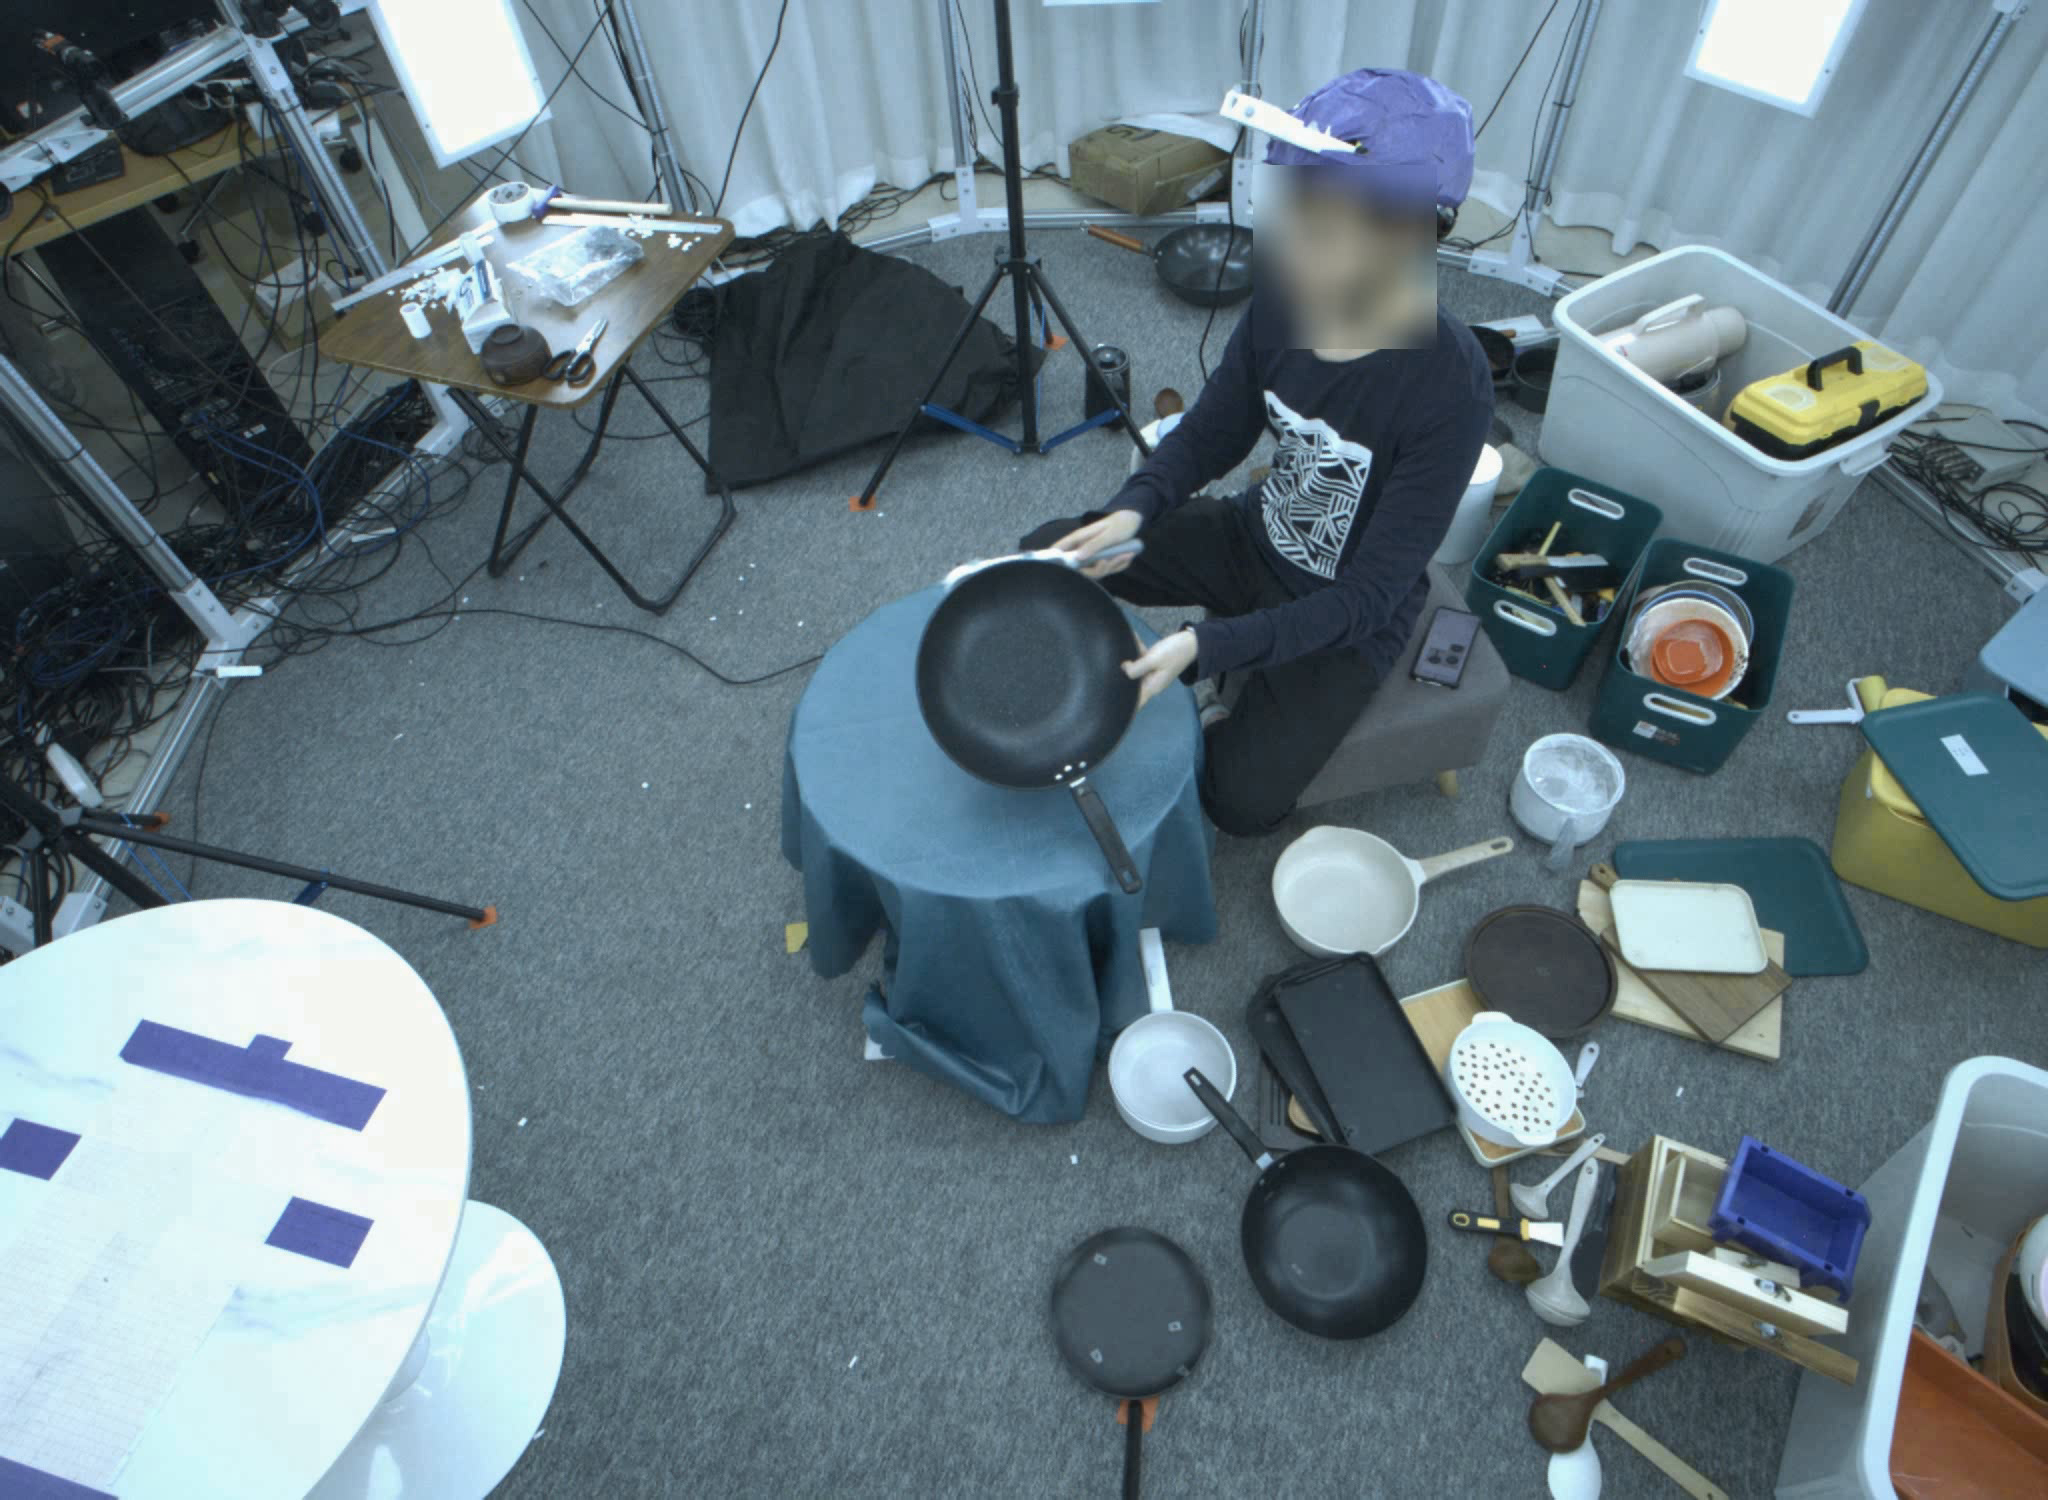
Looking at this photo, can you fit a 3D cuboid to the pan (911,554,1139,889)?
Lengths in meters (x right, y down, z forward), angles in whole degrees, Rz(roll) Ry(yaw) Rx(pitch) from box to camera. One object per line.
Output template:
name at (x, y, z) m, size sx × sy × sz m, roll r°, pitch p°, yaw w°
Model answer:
pan at (0.035, -0.032, 1.677) m, size 0.312 × 0.110 × 0.479 m, roll -27°, pitch 99°, yaw -10°

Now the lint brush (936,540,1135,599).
lint brush at (0.020, -0.256, 1.699) m, size 0.313 × 0.060 × 0.020 m, roll -15°, pitch 59°, yaw -25°
